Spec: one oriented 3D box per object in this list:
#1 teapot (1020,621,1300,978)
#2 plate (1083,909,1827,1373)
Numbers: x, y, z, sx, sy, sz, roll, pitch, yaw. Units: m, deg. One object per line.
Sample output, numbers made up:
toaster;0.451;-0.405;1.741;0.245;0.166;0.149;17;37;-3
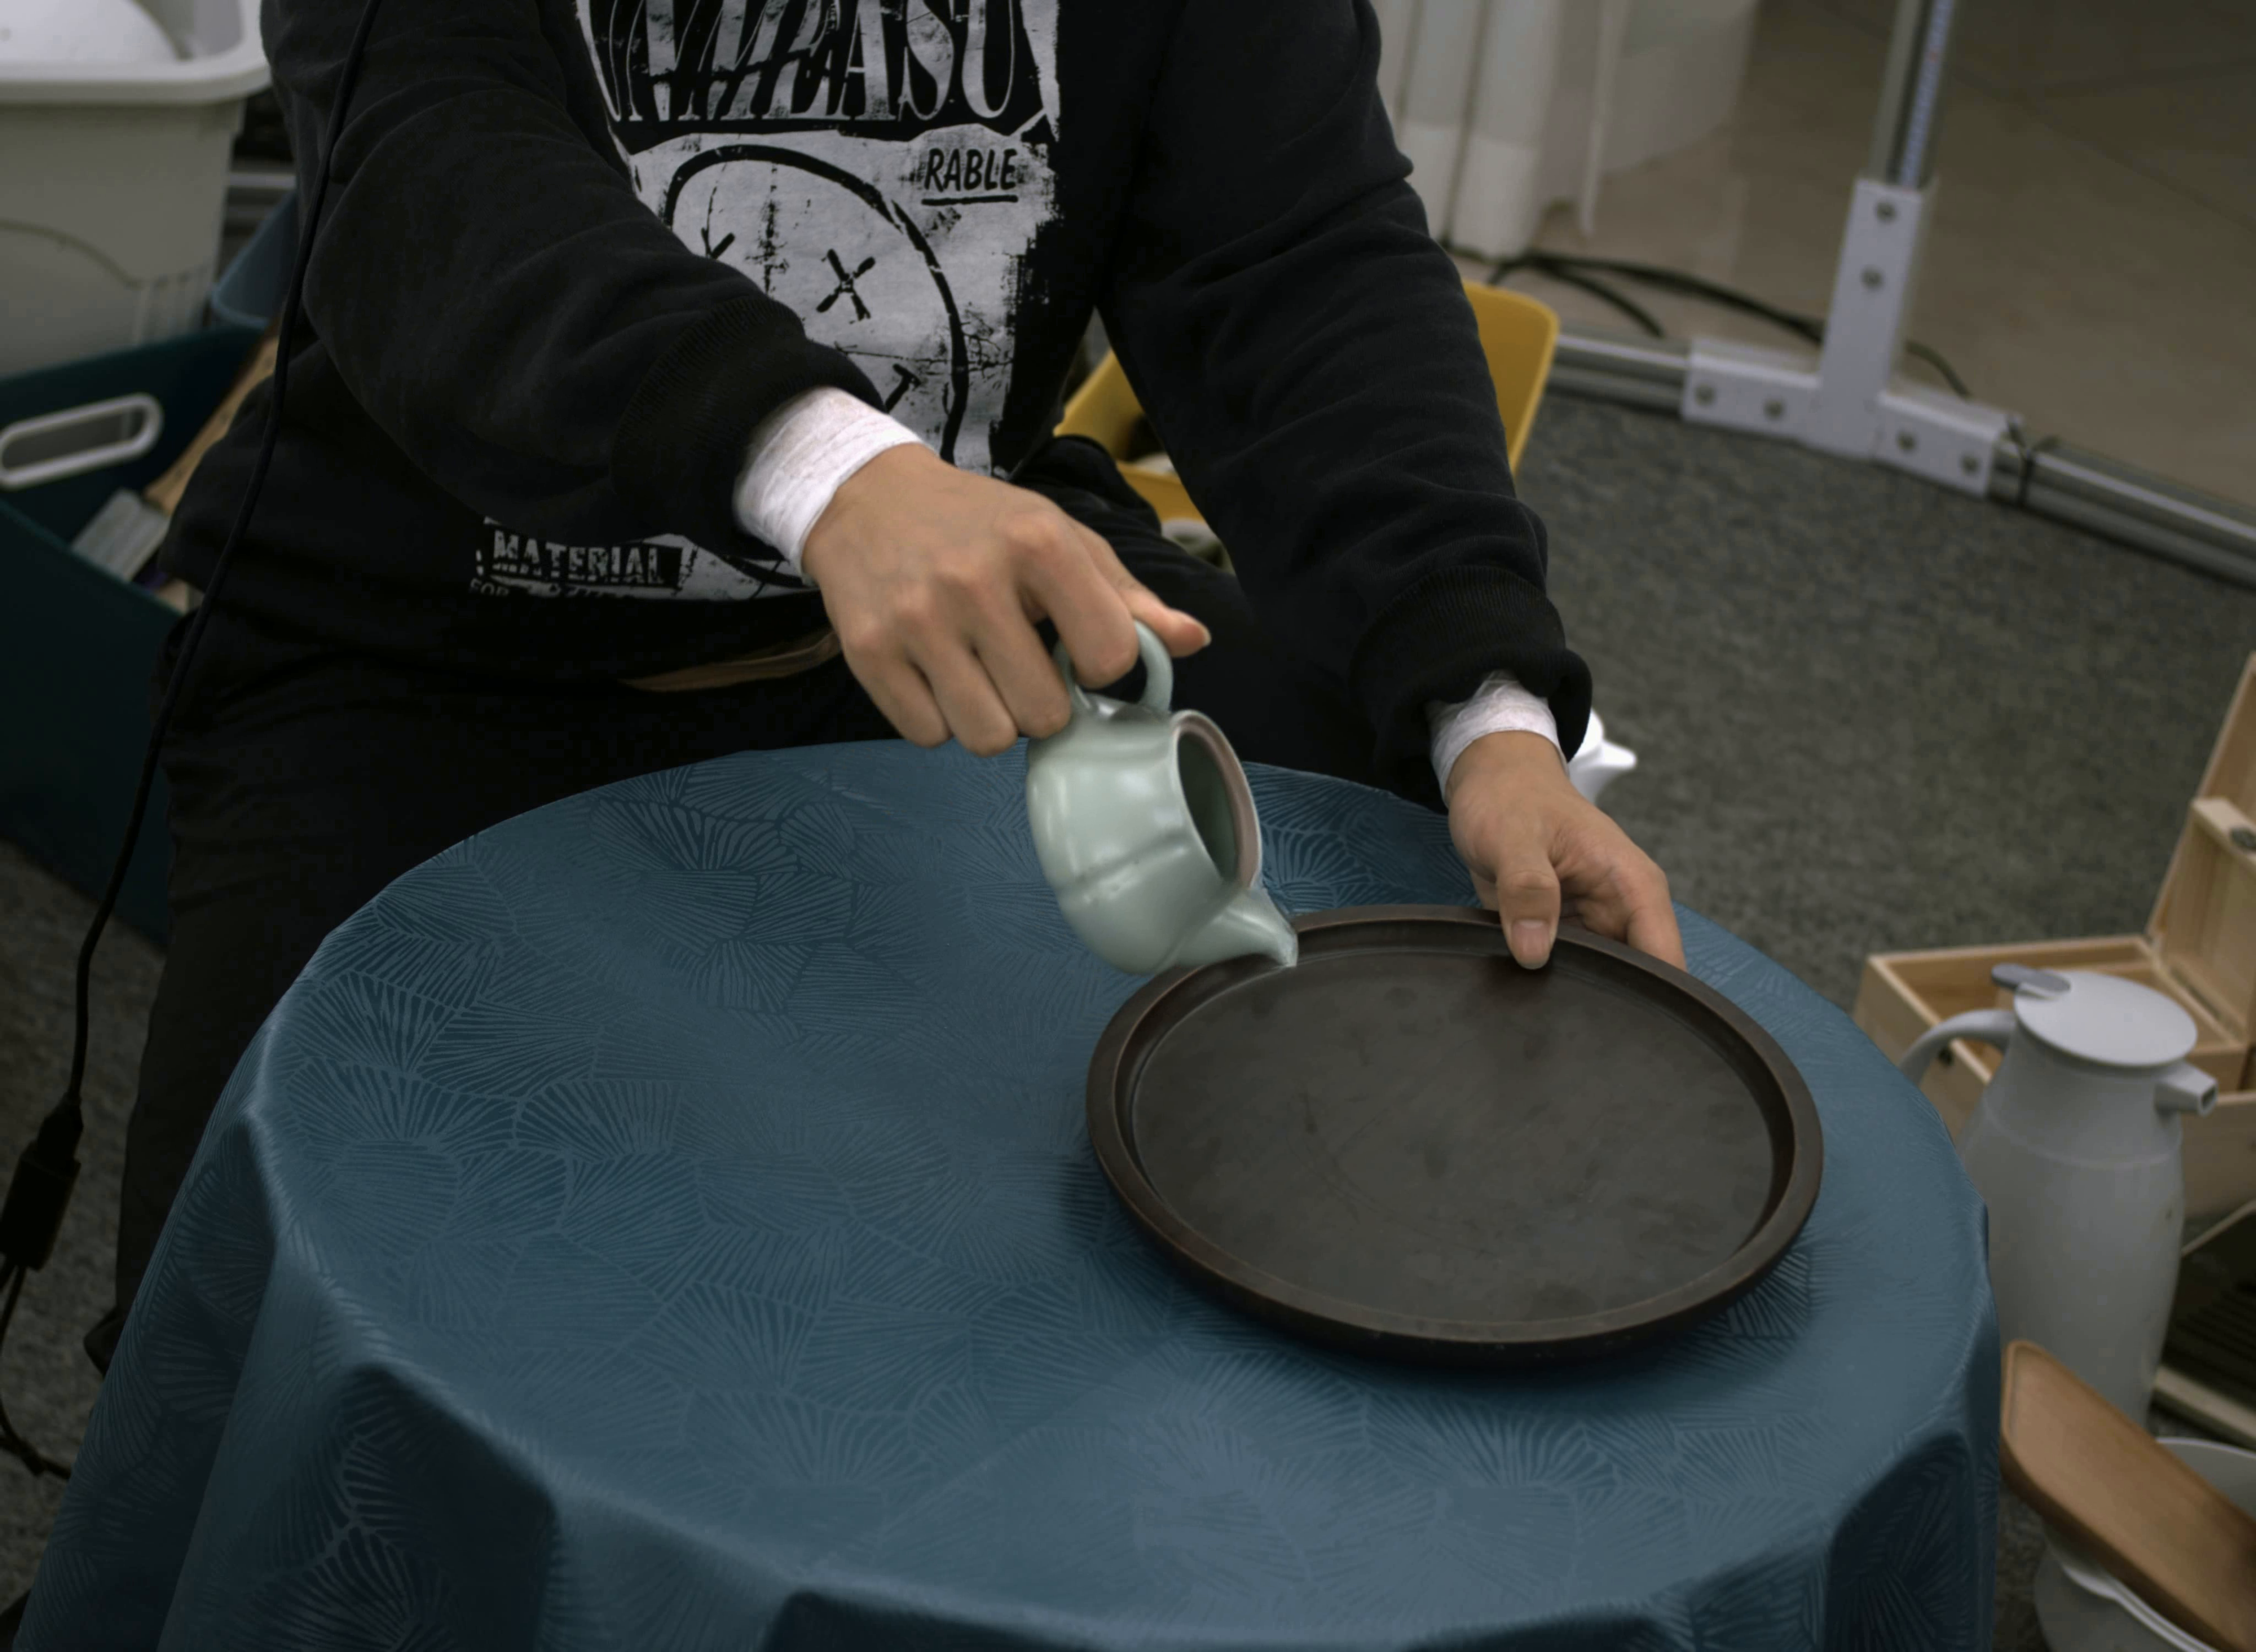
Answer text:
teapot;0.003;-0.004;1.749;0.061;0.136;0.096;-19;20;22
plate;0.110;0.105;1.813;0.254;0.029;0.256;2;34;-2
